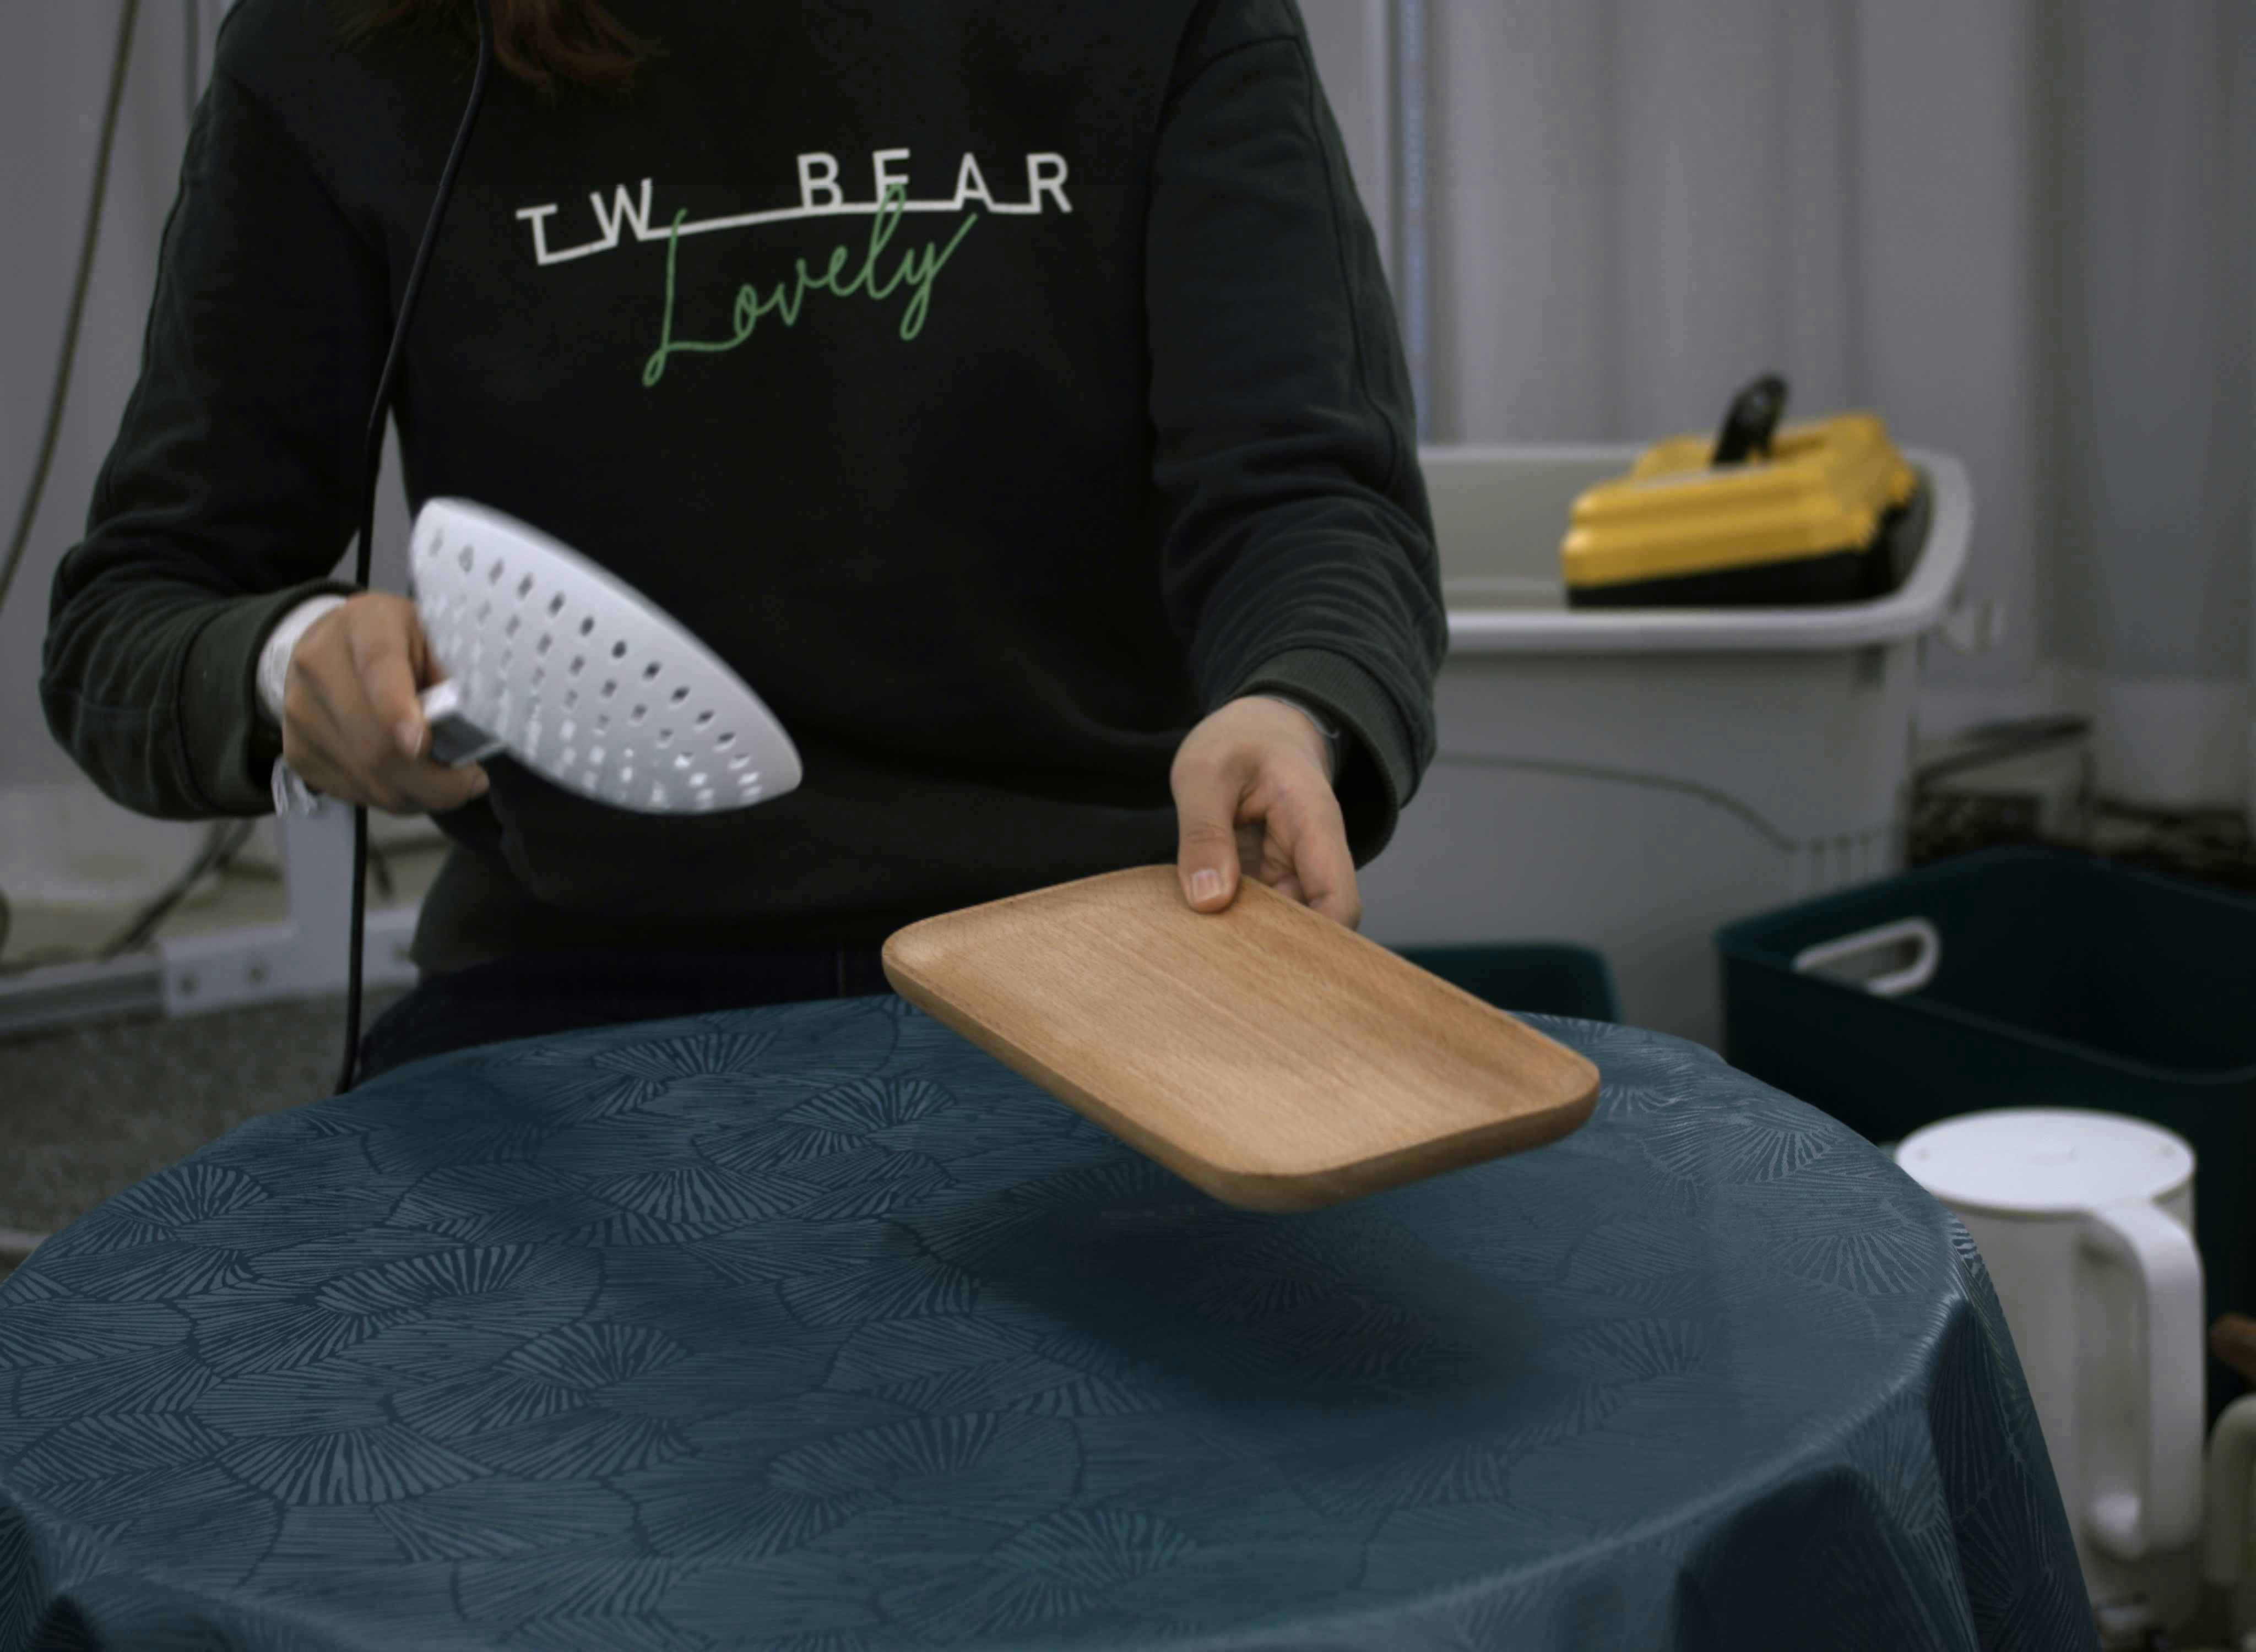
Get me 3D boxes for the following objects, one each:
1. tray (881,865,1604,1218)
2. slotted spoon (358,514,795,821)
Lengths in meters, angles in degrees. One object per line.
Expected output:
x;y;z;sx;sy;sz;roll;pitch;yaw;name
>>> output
0.029;0.061;1.611;0.130;0.023;0.253;-11;19;-26;tray
-0.193;-0.034;1.688;0.135;0.046;0.350;37;-10;-13;slotted spoon
